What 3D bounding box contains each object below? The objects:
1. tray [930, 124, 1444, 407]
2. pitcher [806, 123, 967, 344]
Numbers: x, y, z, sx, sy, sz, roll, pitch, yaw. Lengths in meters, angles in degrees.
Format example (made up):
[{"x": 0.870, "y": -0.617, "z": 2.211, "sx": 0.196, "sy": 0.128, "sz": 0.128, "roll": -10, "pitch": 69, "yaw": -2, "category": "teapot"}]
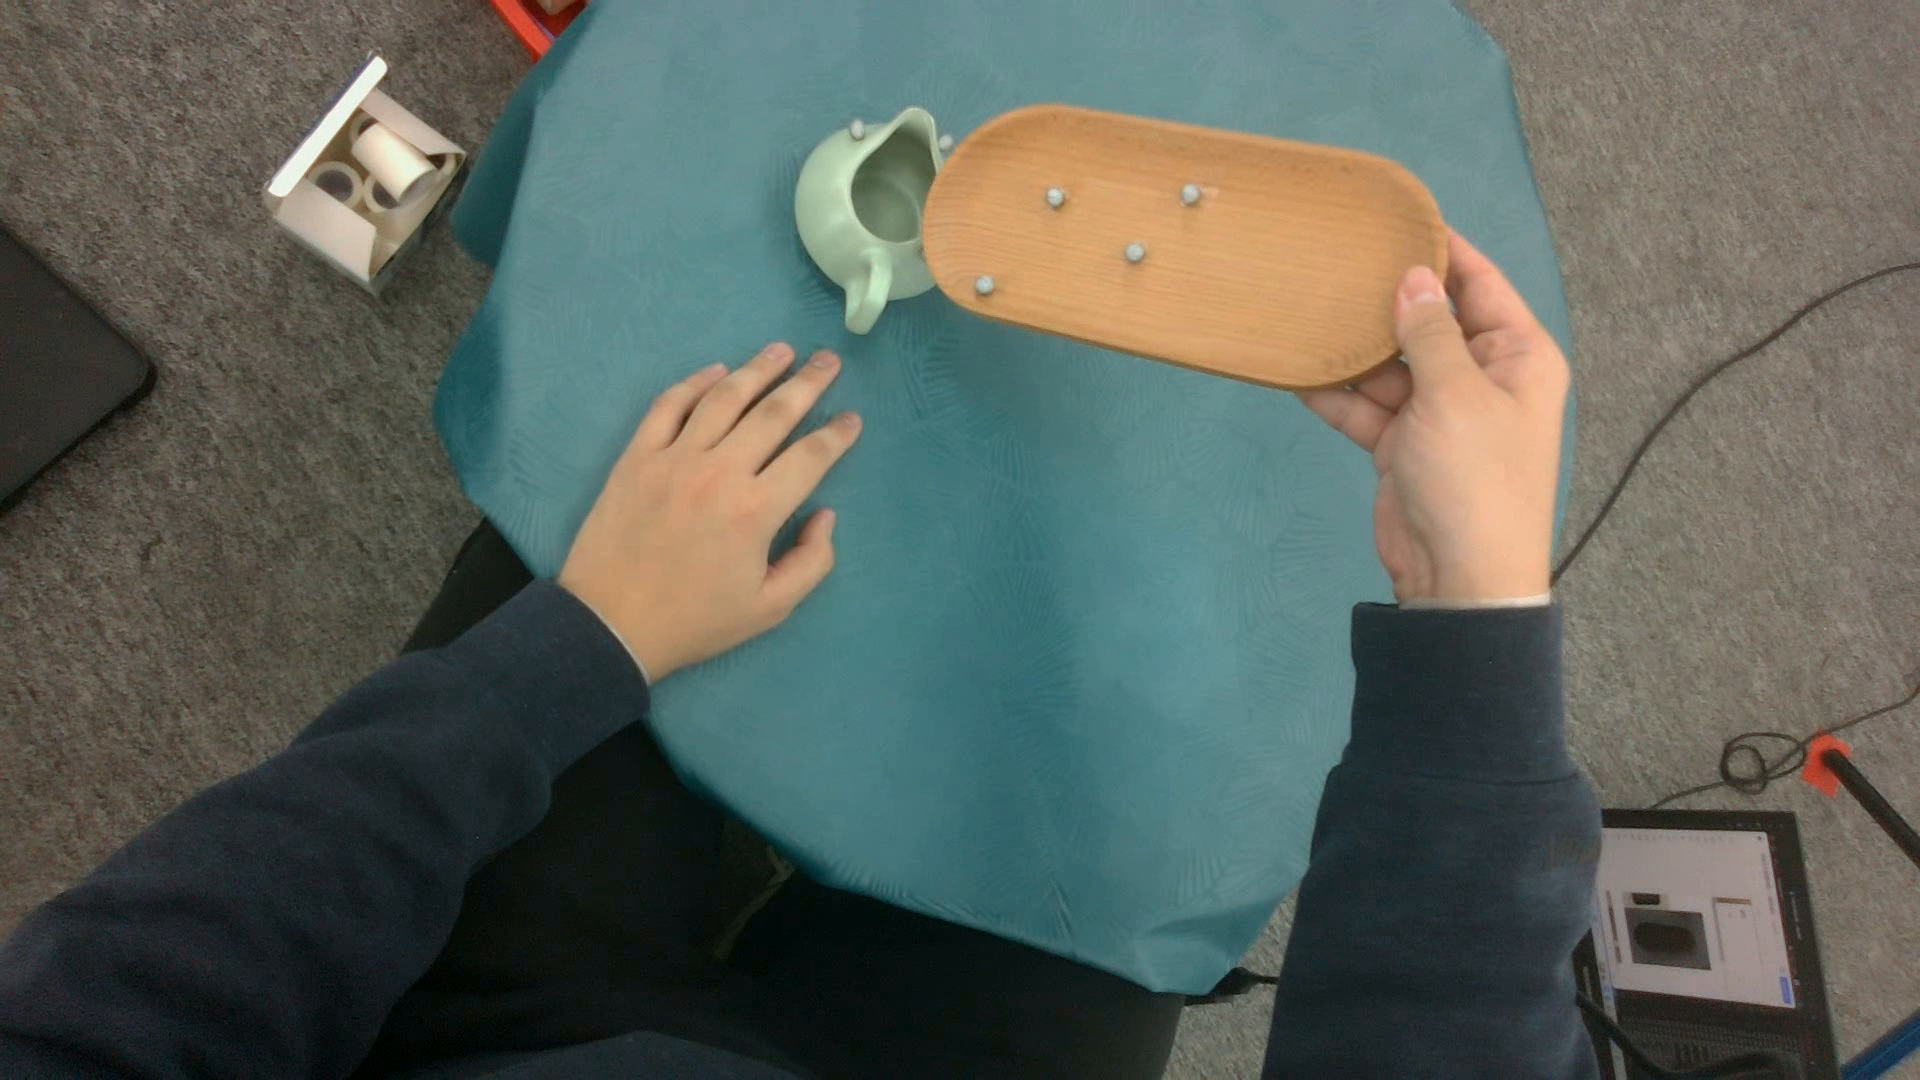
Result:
[{"x": 0.091, "y": -0.121, "z": 0.597, "sx": 0.231, "sy": 0.020, "sz": 0.102, "roll": 18, "pitch": 85, "yaw": 24, "category": "tray"}, {"x": -0.035, "y": -0.148, "z": 0.682, "sx": 0.086, "sy": 0.060, "sz": 0.108, "roll": 13, "pitch": 85, "yaw": -14, "category": "pitcher"}]
